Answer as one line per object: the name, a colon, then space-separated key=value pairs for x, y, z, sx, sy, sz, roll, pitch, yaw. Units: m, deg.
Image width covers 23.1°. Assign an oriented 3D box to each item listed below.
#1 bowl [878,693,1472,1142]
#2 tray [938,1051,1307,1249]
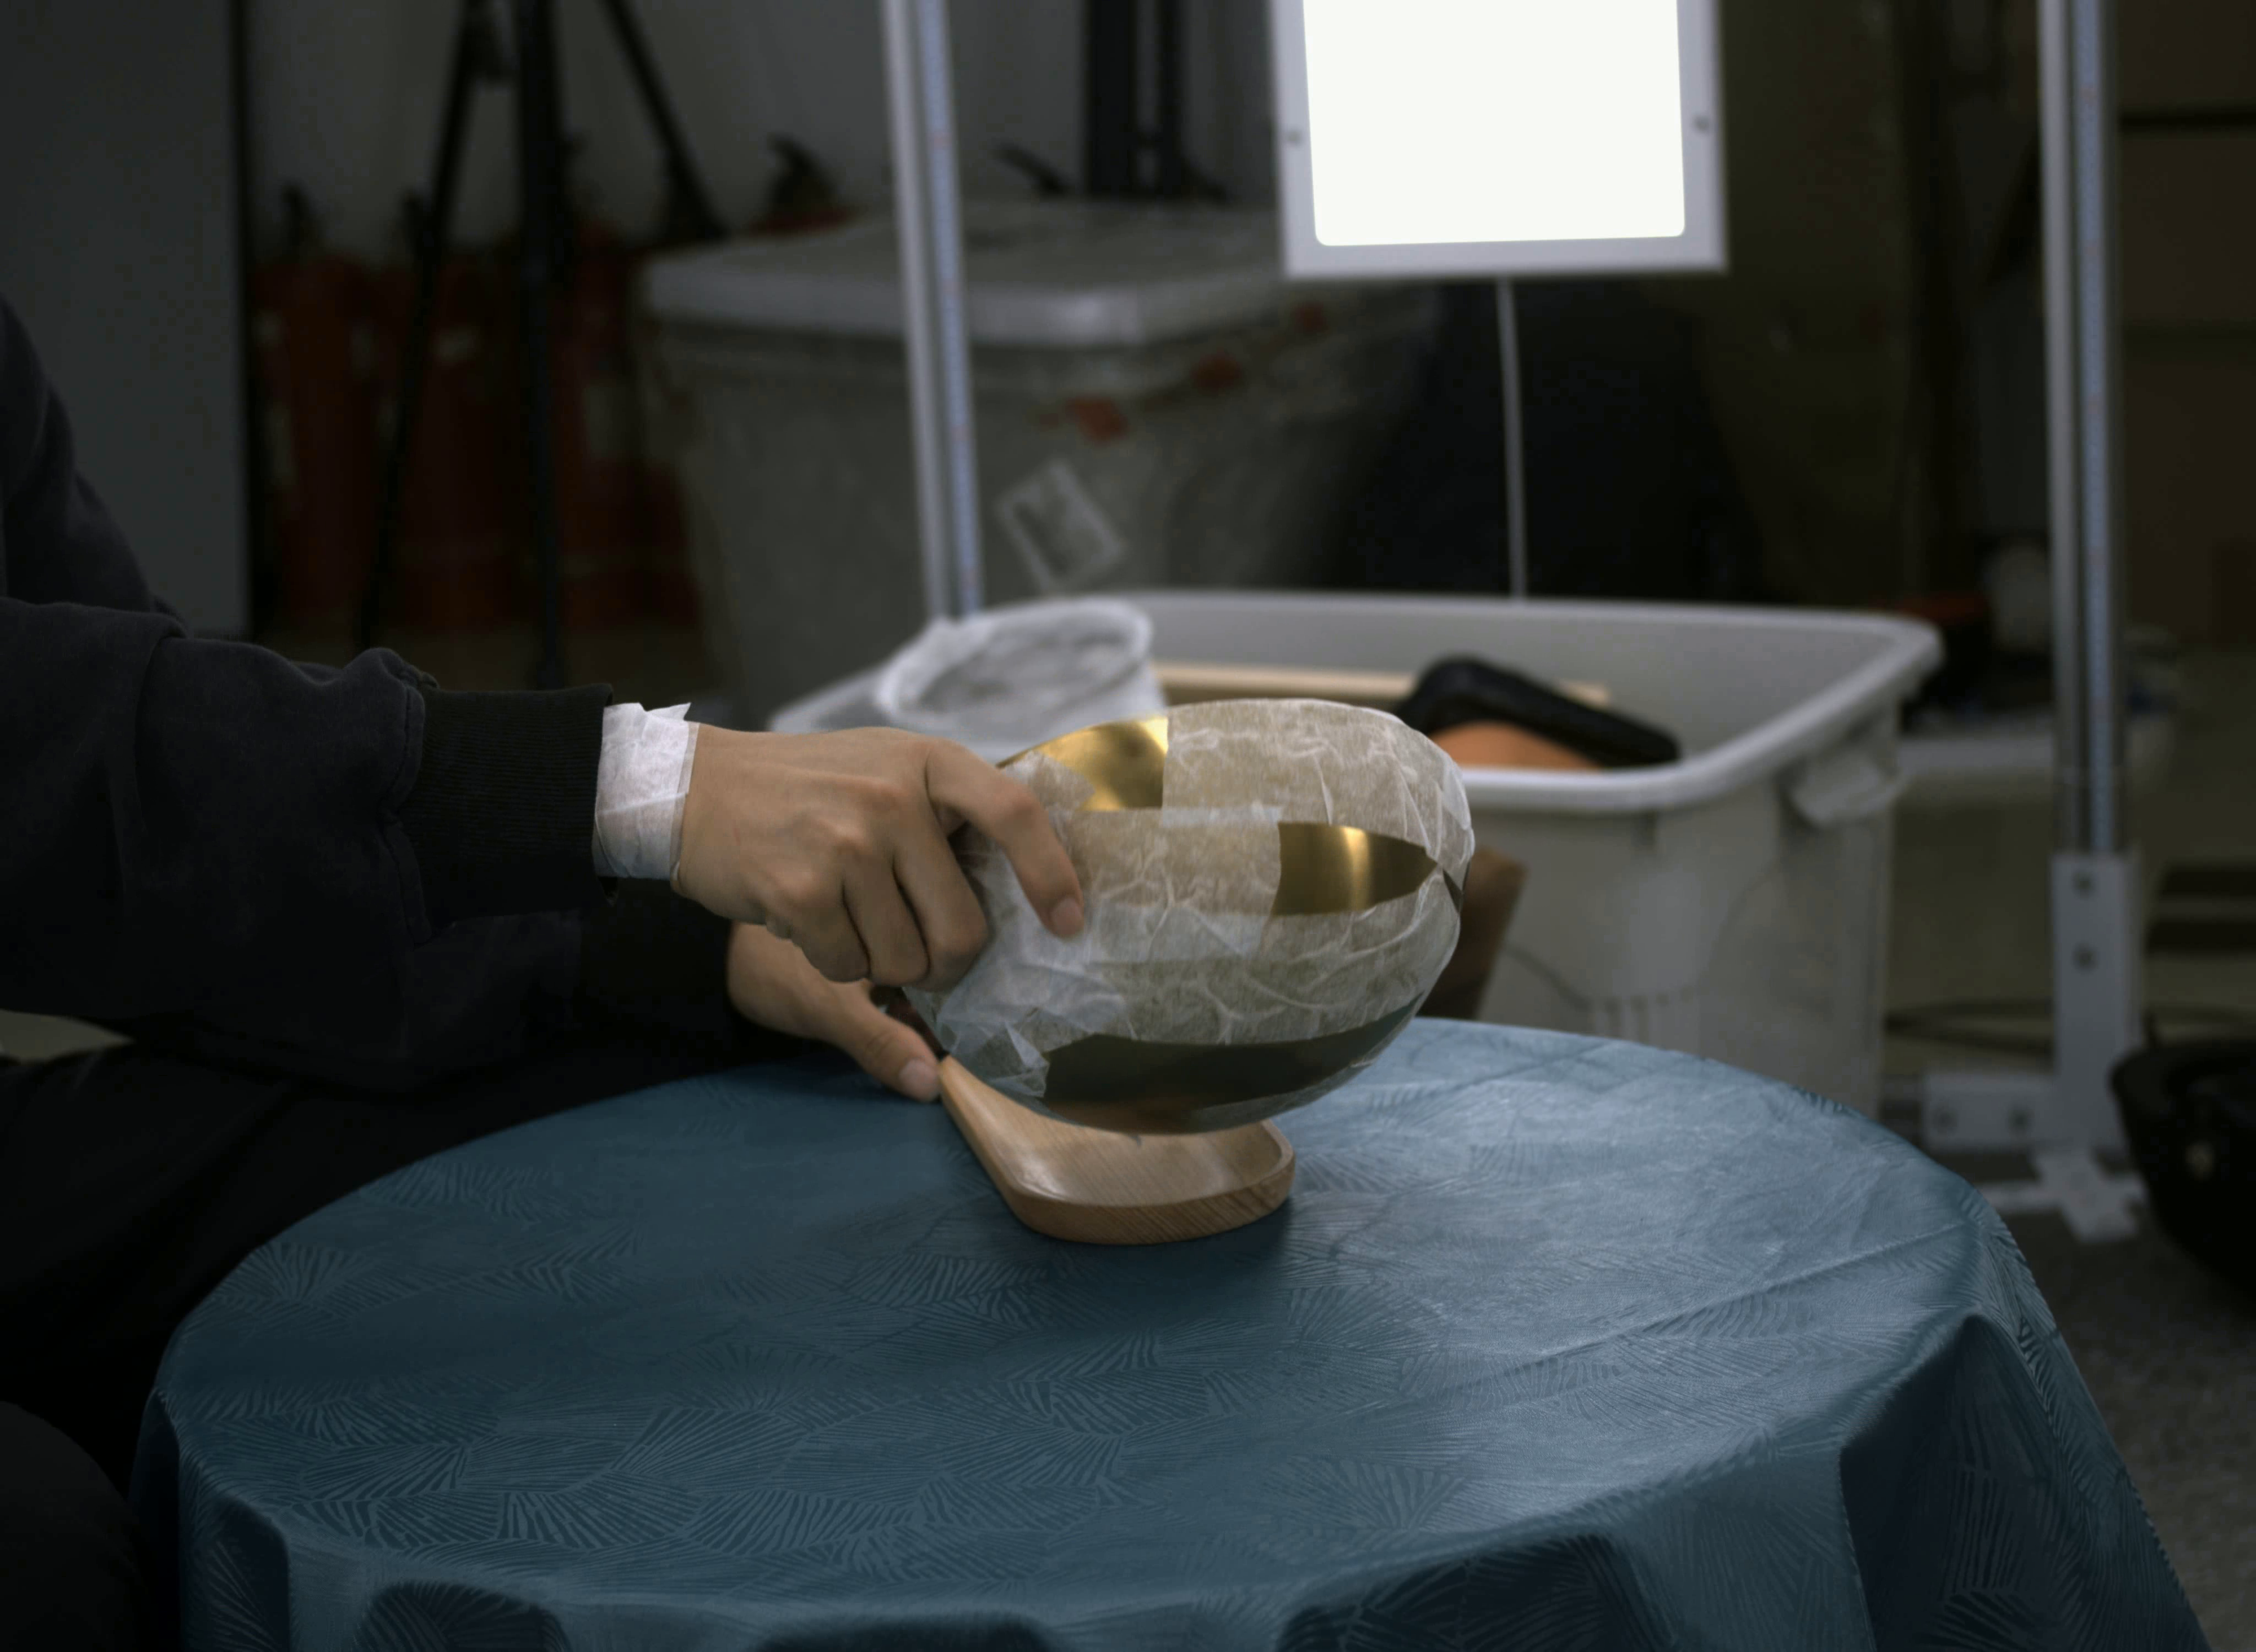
bowl: x=0.021 y=0.048 z=1.827 sx=0.213 sy=0.095 sz=0.216 roll=-8 pitch=-28 yaw=-6
tray: x=-0.003 y=0.108 z=1.942 sx=0.100 sy=0.020 sz=0.233 roll=-10 pitch=16 yaw=-11
